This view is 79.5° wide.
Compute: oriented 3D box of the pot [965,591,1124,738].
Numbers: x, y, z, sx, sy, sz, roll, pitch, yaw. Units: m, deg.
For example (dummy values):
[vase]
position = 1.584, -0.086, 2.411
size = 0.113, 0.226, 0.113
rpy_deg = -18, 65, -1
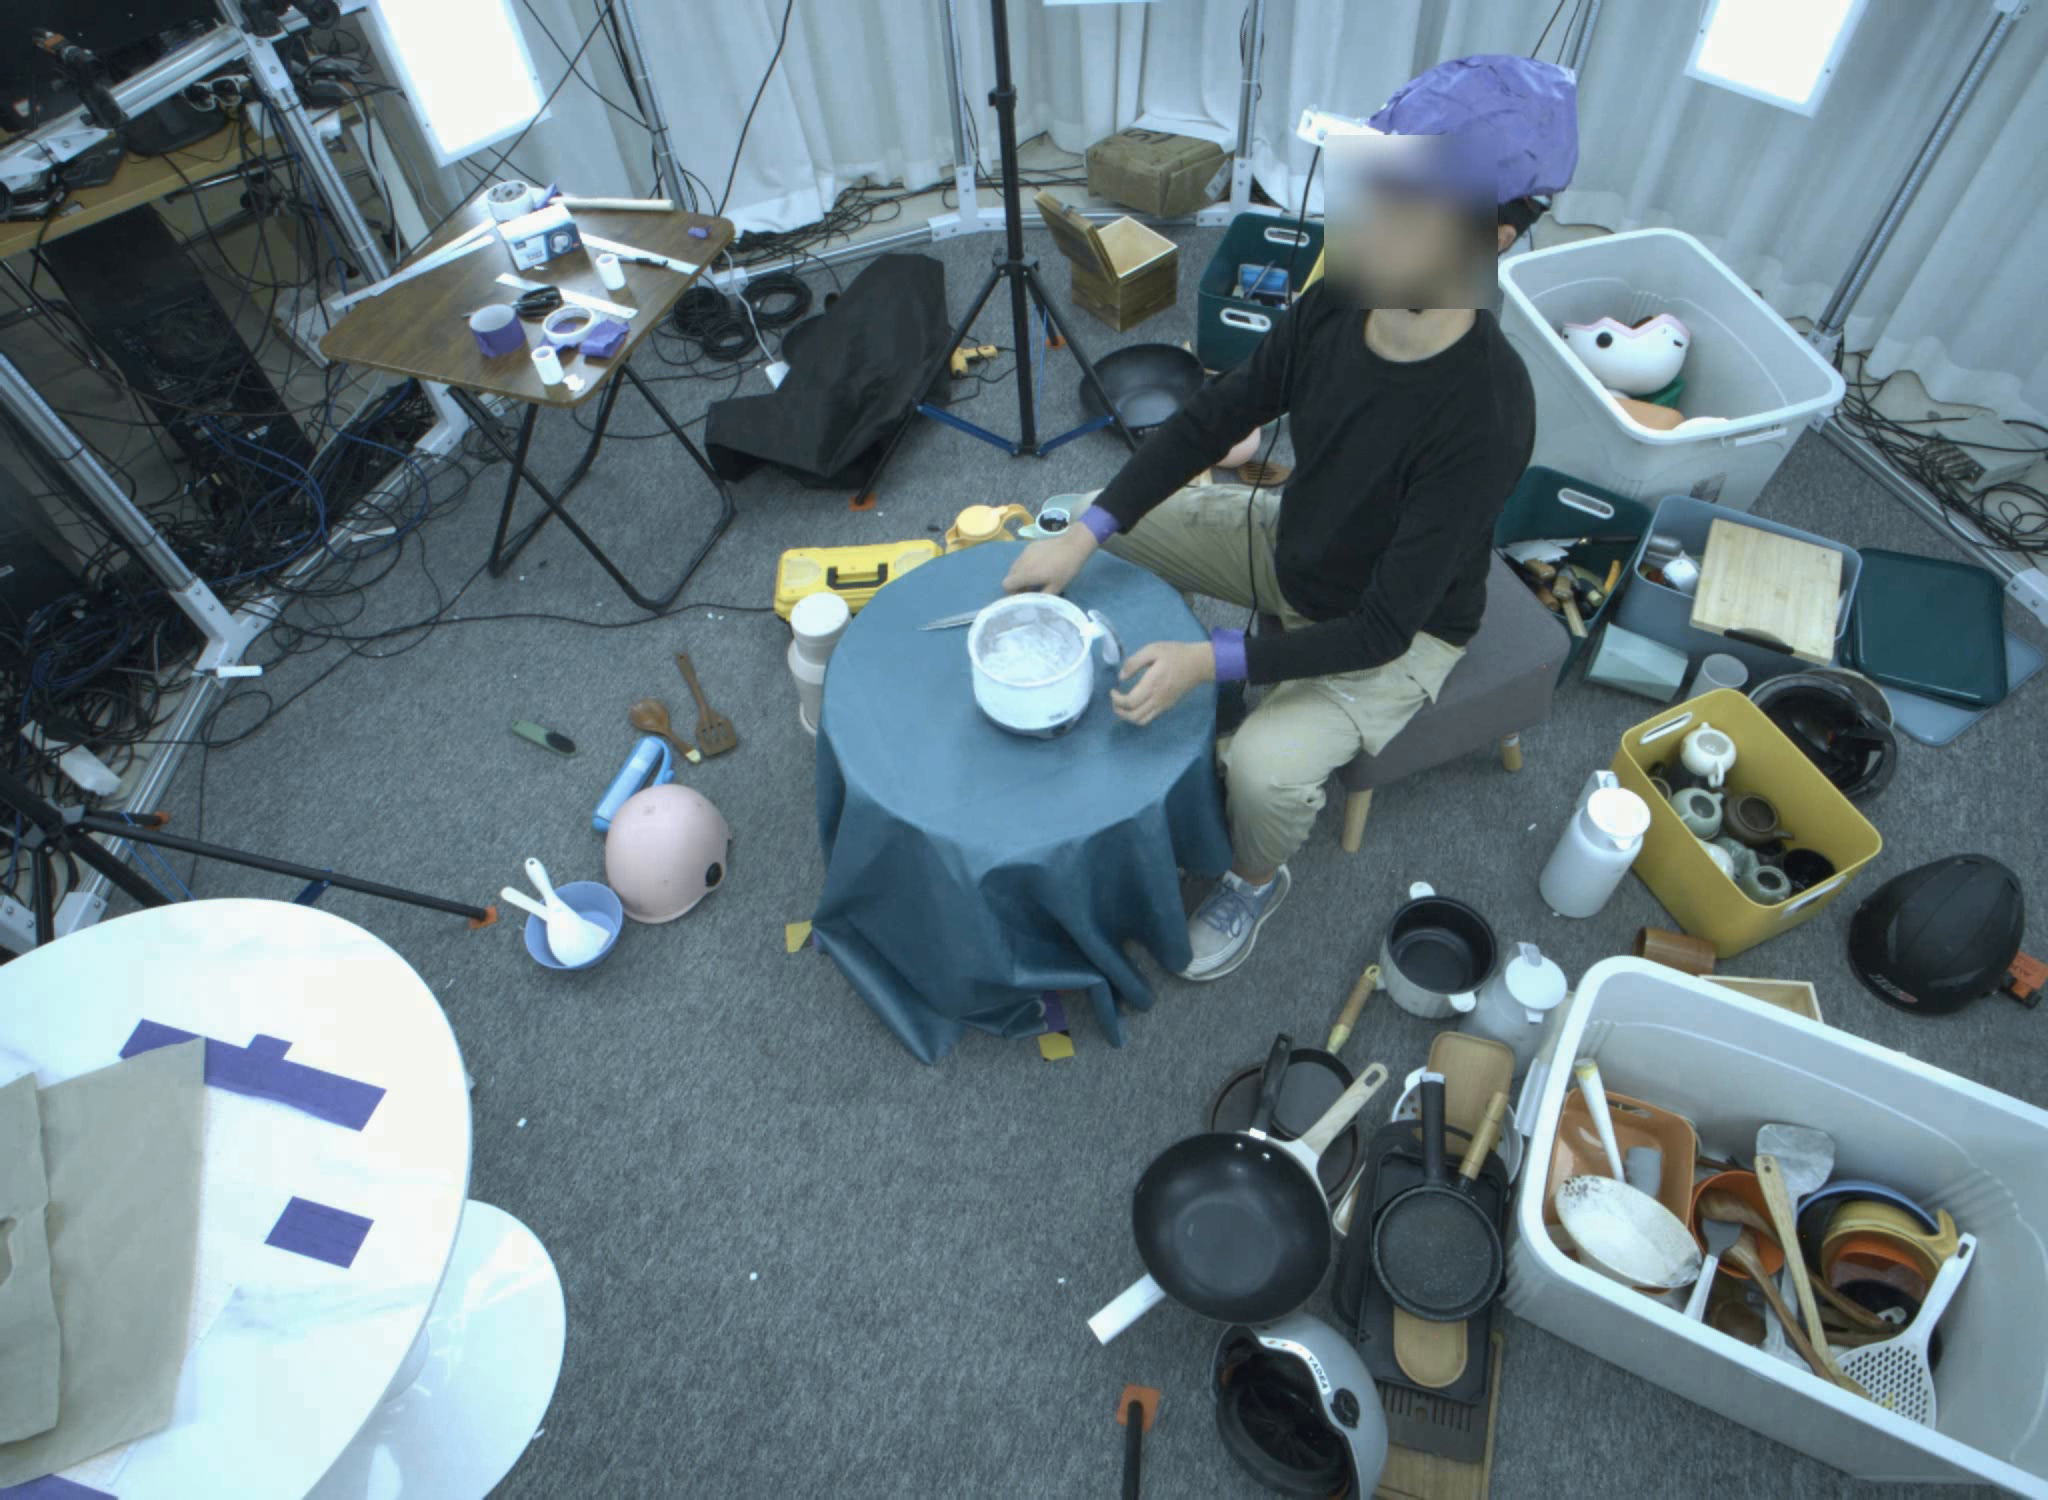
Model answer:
[pot]
position = 0.035, -0.133, 1.790
size = 0.235, 0.138, 0.175
rpy_deg = -23, 57, -12

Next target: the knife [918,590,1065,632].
[knife]
position = -0.053, -0.218, 1.934
size = 0.239, 0.016, 0.024
rpy_deg = -14, 53, -5
